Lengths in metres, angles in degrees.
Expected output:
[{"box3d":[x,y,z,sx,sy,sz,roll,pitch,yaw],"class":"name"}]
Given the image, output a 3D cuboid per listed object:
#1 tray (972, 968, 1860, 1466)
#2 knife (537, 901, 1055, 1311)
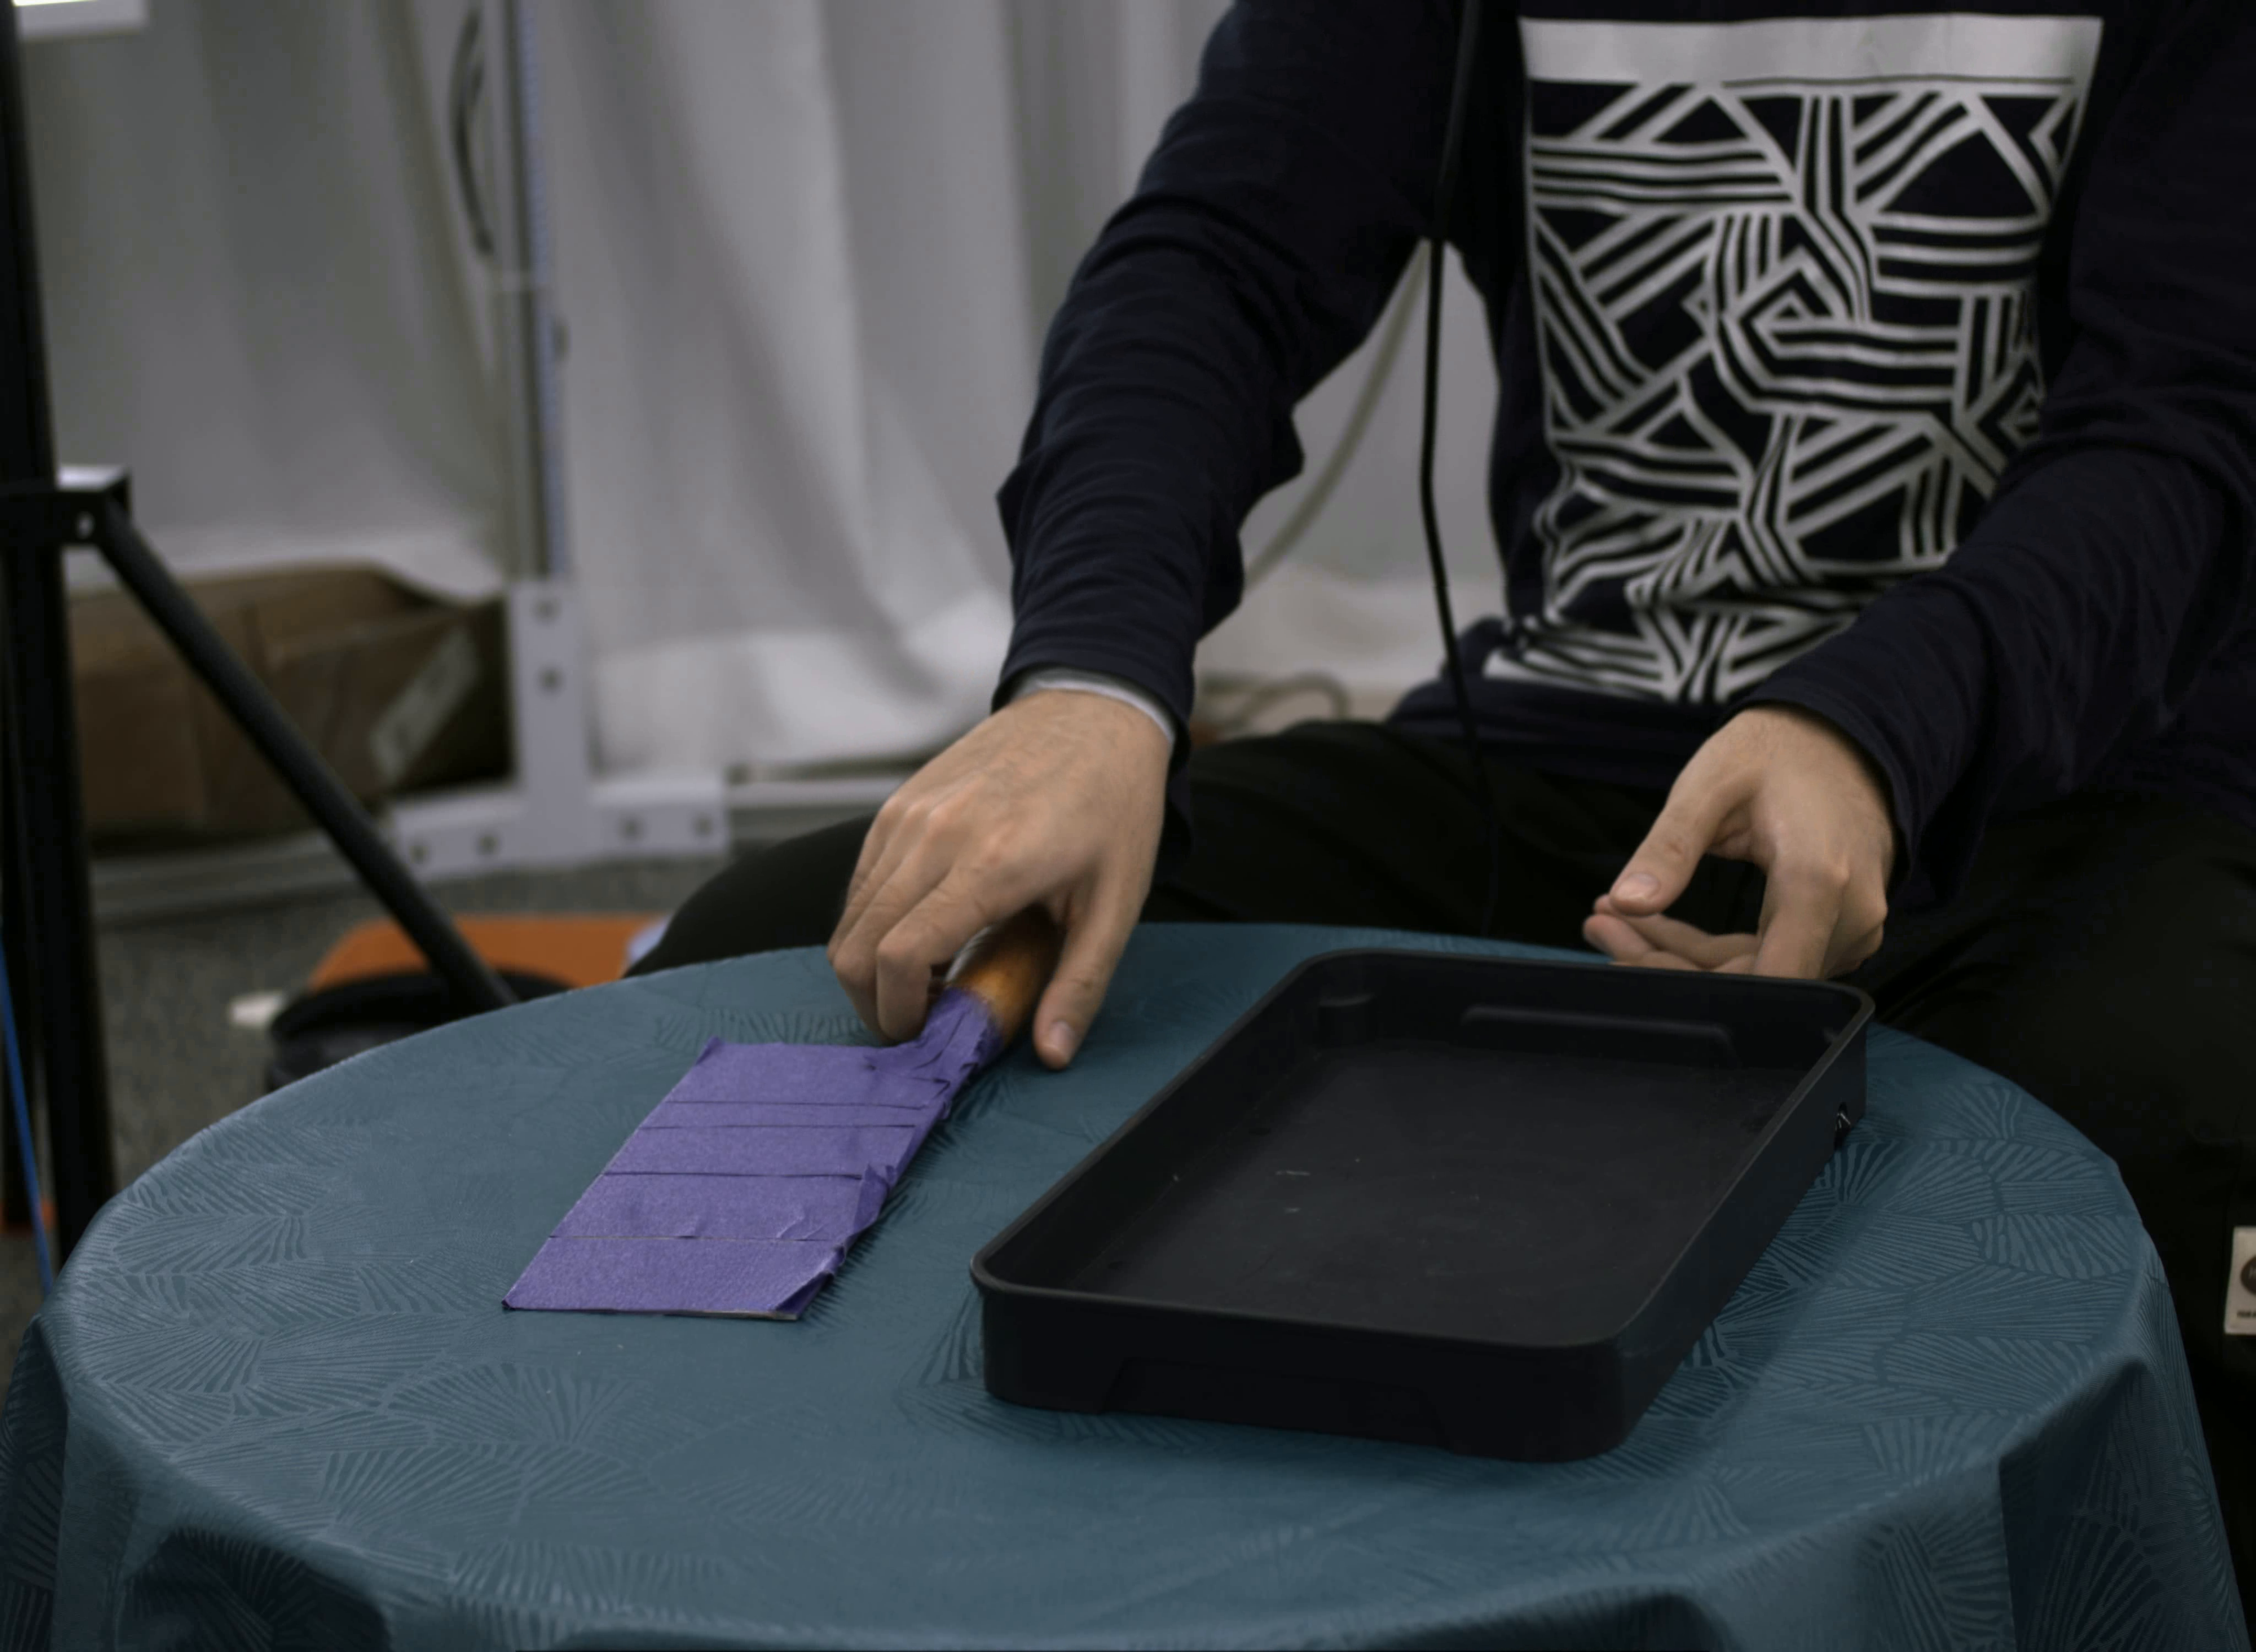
[{"box3d":[0.090,0.104,1.503,0.186,0.037,0.314,3,15,20],"class":"tray"},{"box3d":[-0.098,0.082,1.619,0.104,0.032,0.313,1,17,13],"class":"knife"}]
